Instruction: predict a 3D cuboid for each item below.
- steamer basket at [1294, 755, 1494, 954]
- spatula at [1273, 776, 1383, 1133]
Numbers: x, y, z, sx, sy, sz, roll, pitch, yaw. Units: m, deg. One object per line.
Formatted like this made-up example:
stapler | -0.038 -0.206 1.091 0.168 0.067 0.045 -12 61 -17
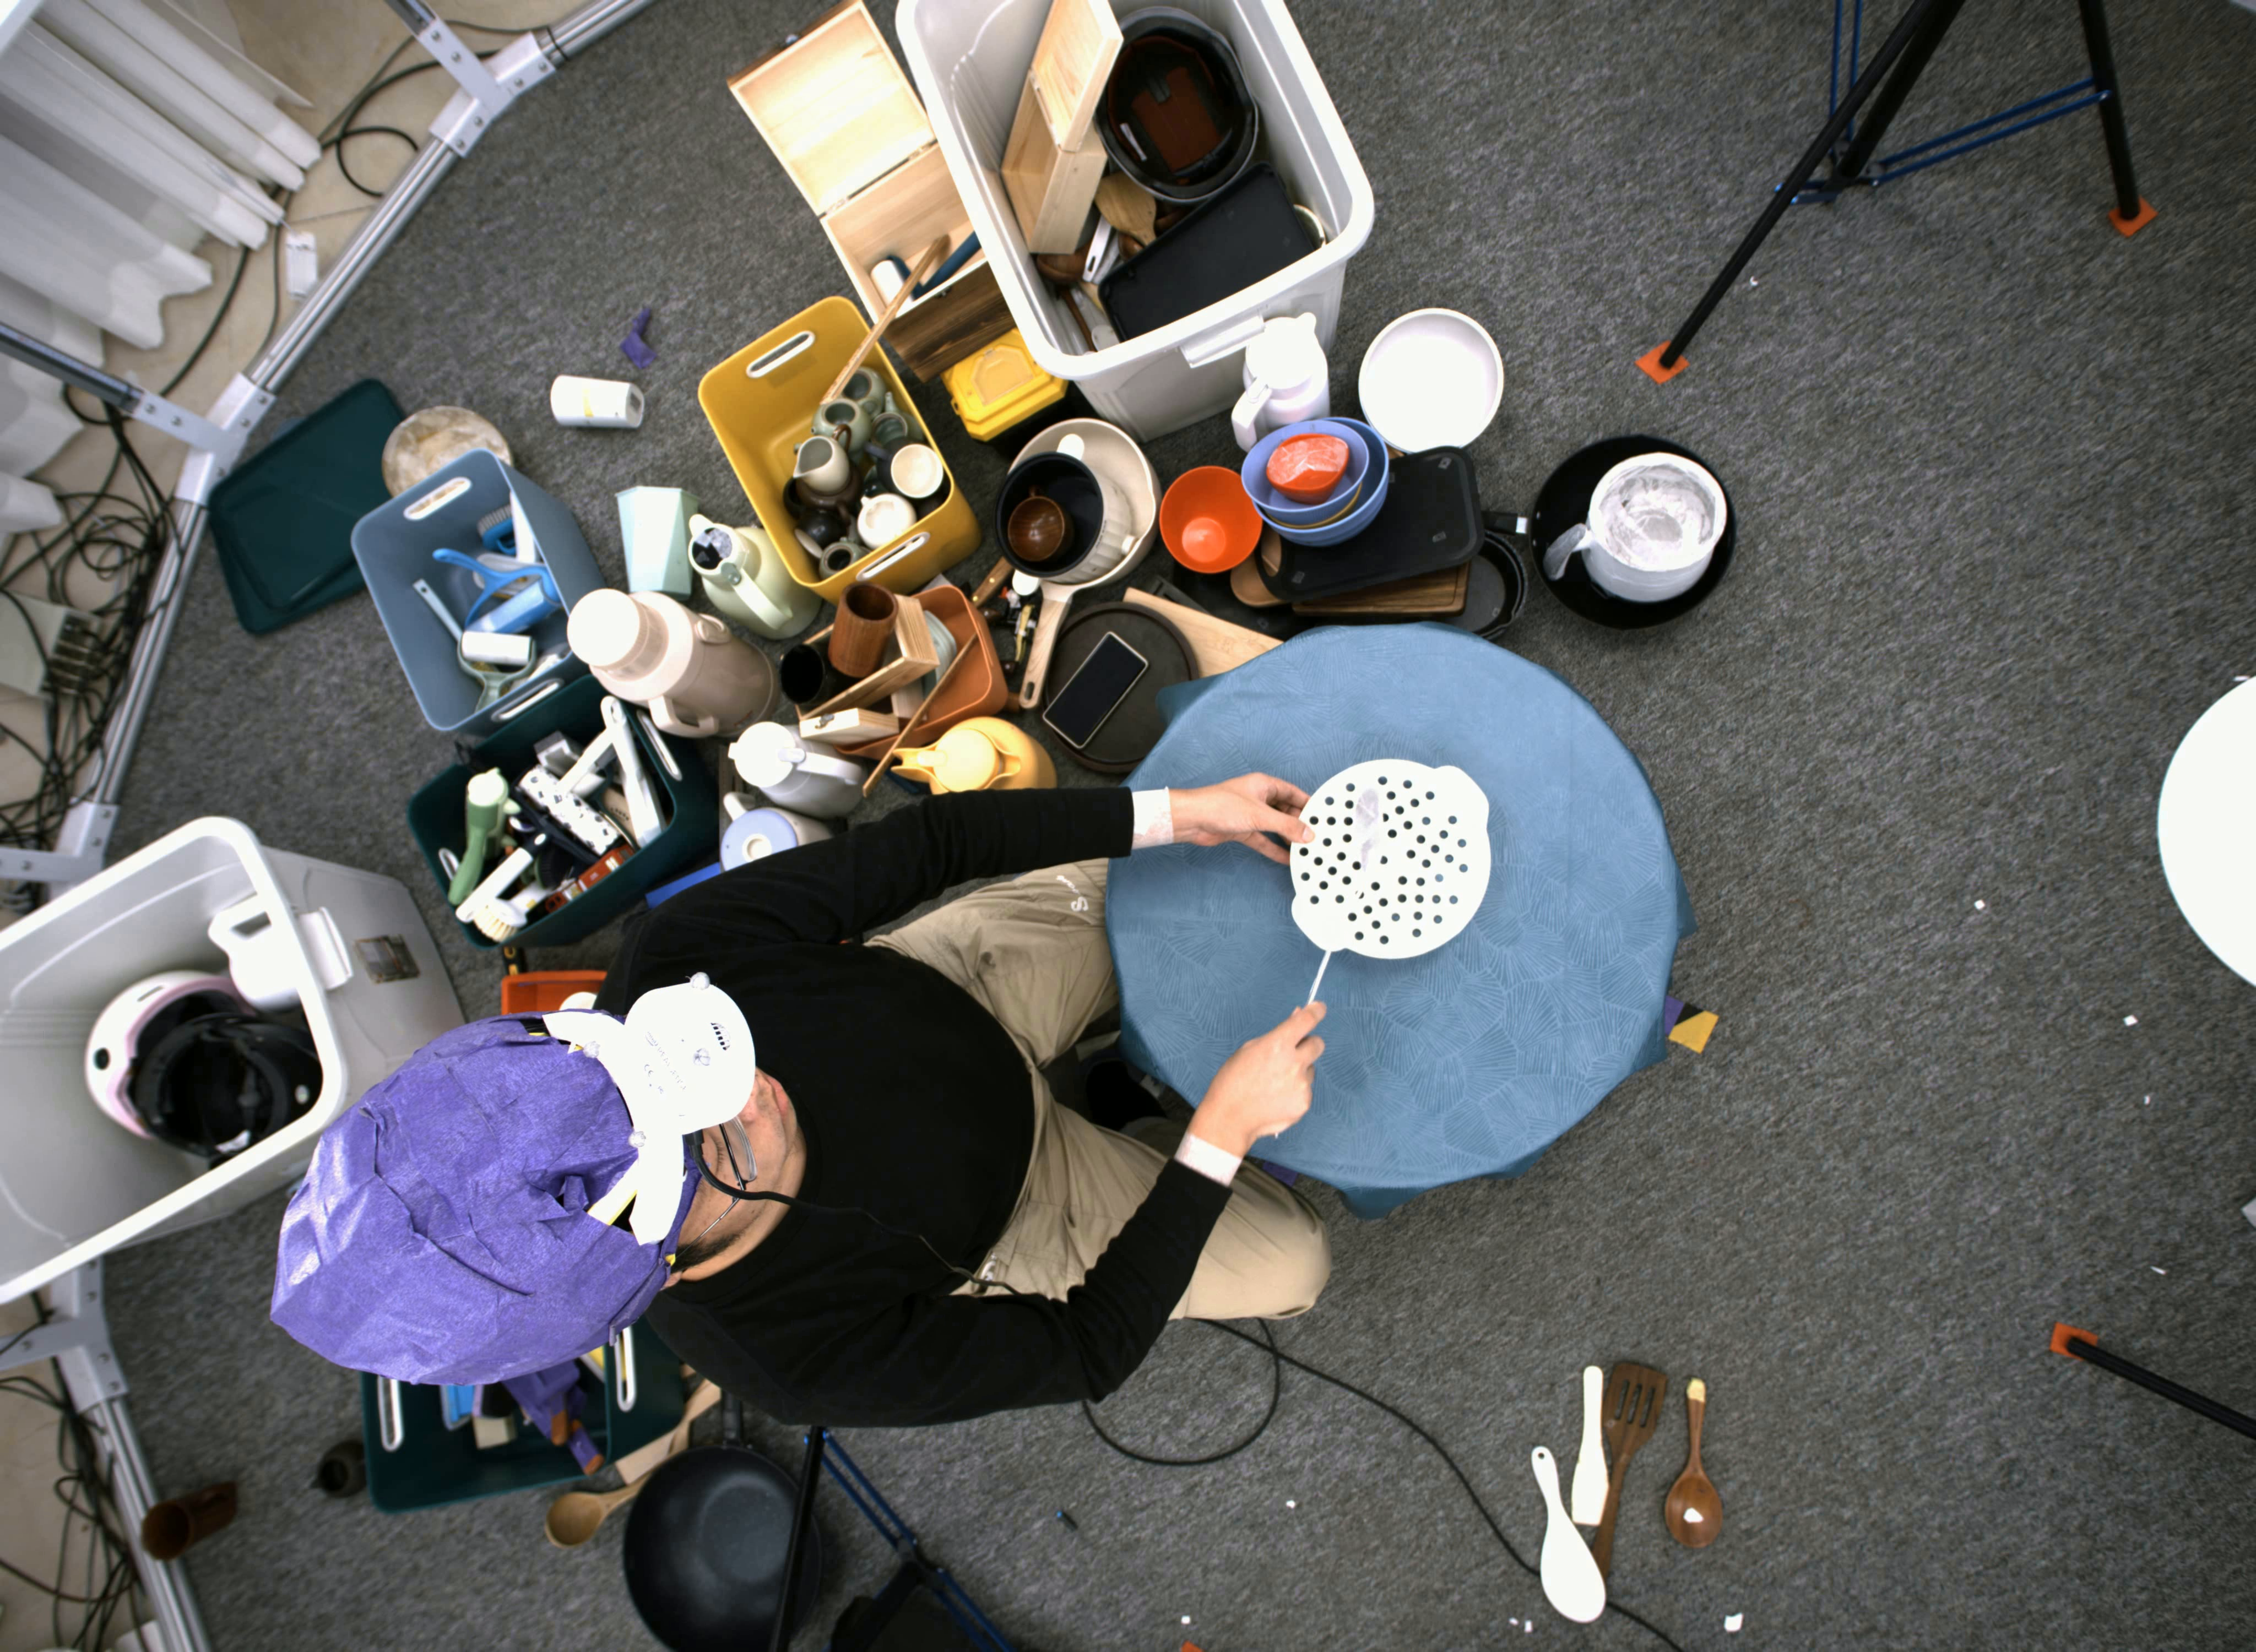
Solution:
steamer basket | 0.270 0.029 1.419 0.231 0.069 0.201 -42 86 3
spatula | 0.192 0.122 1.363 0.045 0.100 0.360 23 77 -1
